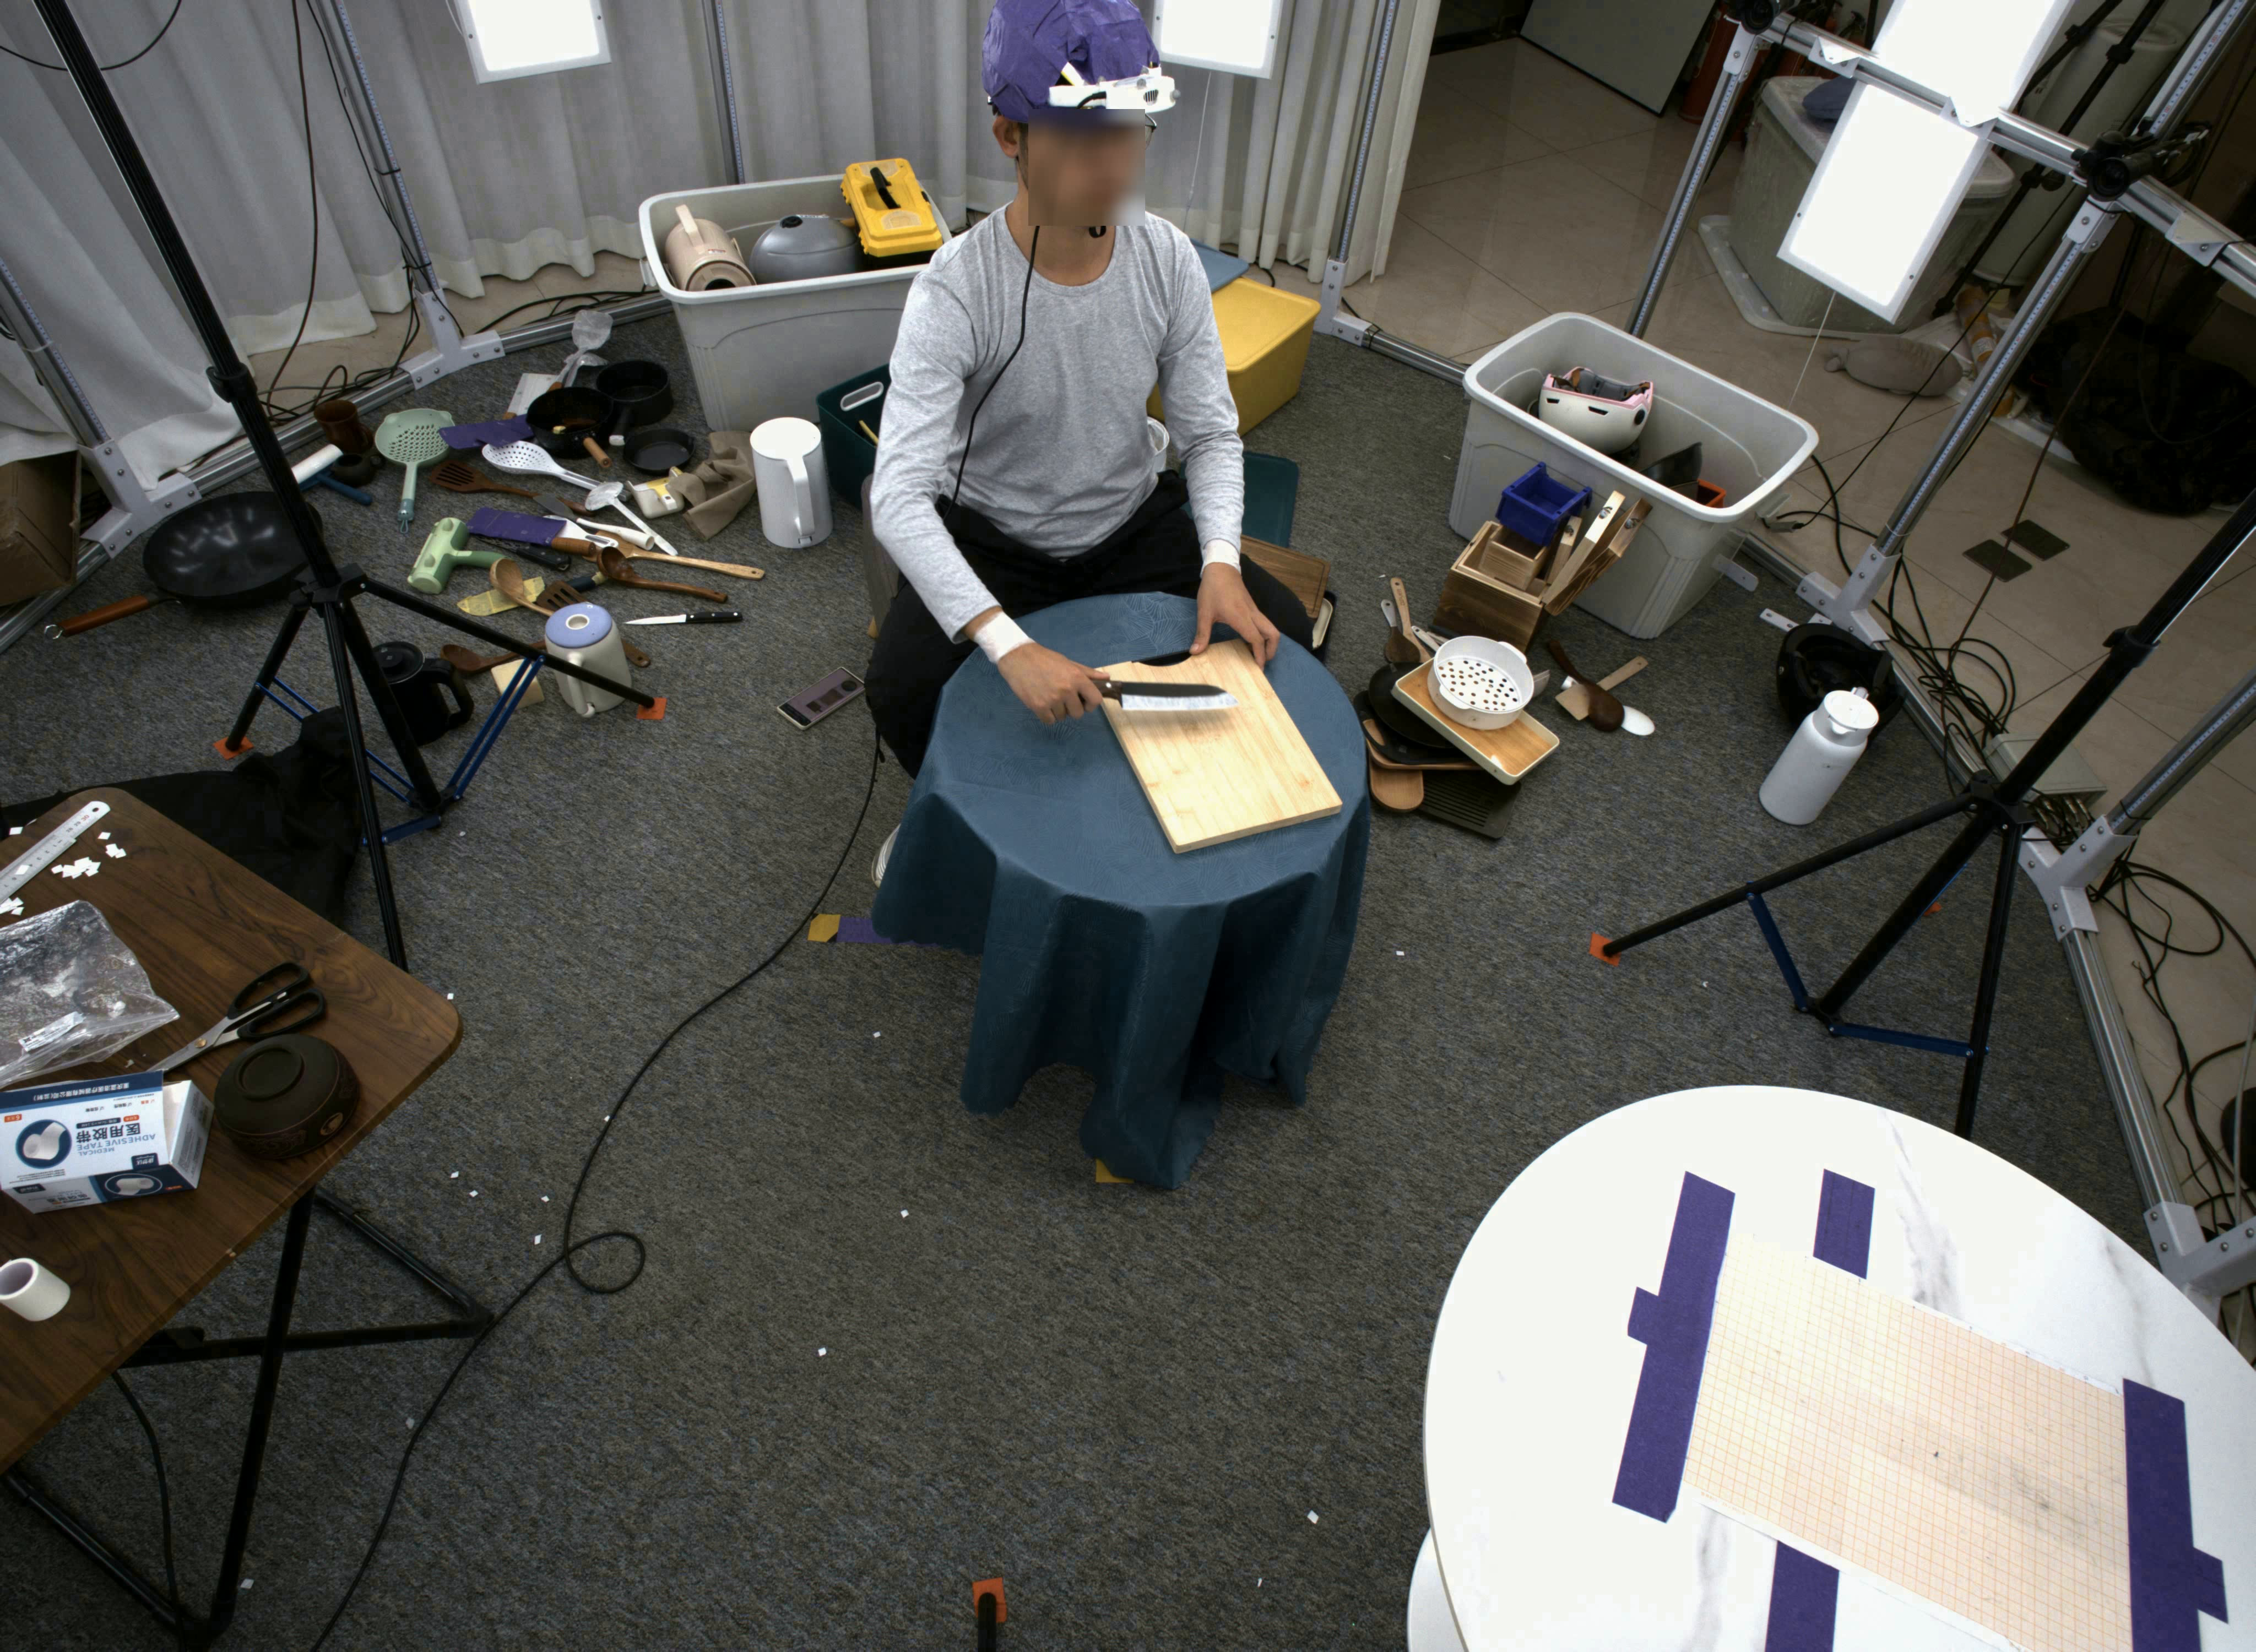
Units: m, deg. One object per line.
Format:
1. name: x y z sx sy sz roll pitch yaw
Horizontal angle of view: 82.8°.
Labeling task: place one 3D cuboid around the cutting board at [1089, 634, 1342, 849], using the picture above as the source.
1. cutting board: 0.113 -0.124 1.772 0.251 0.023 0.357 -14 51 -16

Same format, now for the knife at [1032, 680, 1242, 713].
1. knife: 0.014 -0.175 1.738 0.288 0.019 0.051 2 64 -9
